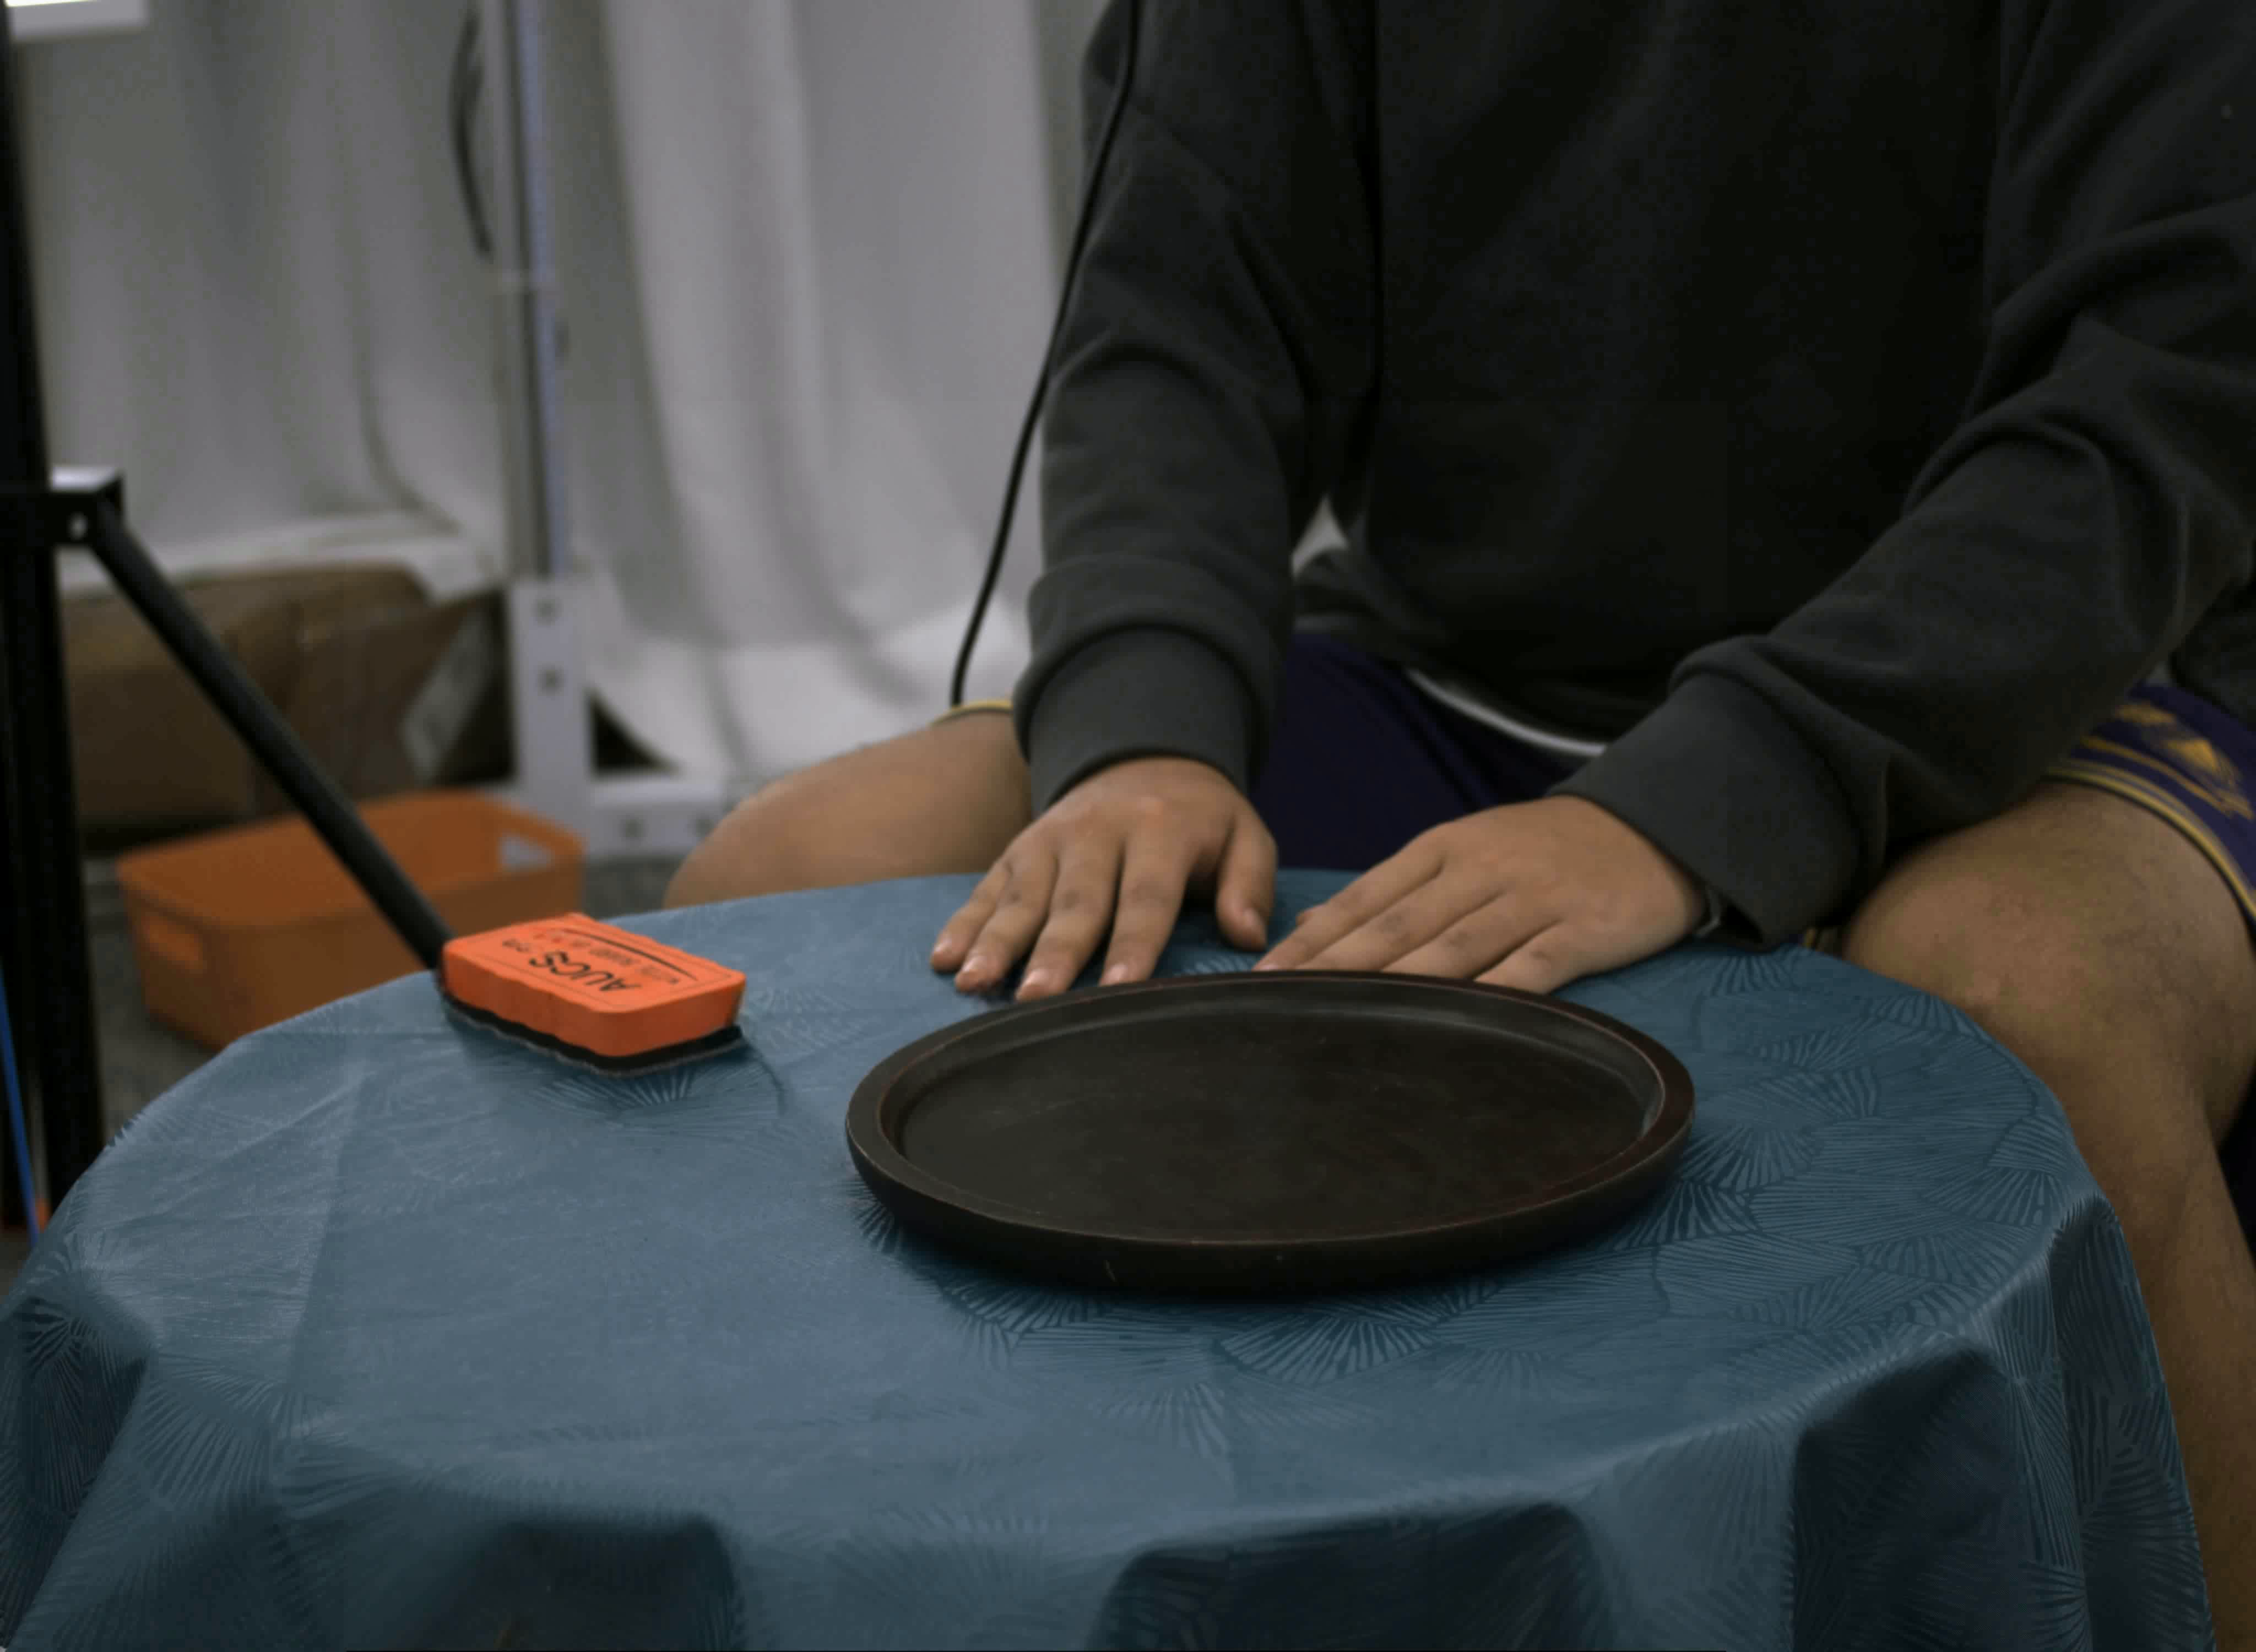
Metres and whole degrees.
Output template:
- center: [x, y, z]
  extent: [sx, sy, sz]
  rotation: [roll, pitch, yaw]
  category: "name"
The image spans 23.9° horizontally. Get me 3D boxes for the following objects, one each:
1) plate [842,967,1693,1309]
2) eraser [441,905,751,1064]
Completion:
- center: [0.042, 0.090, 1.576]
  extent: [0.253, 0.029, 0.256]
  rotation: [-4, 16, 0]
  category: "plate"
- center: [-0.173, 0.051, 1.735]
  extent: [0.057, 0.023, 0.110]
  rotation: [-15, 19, -36]
  category: "eraser"
